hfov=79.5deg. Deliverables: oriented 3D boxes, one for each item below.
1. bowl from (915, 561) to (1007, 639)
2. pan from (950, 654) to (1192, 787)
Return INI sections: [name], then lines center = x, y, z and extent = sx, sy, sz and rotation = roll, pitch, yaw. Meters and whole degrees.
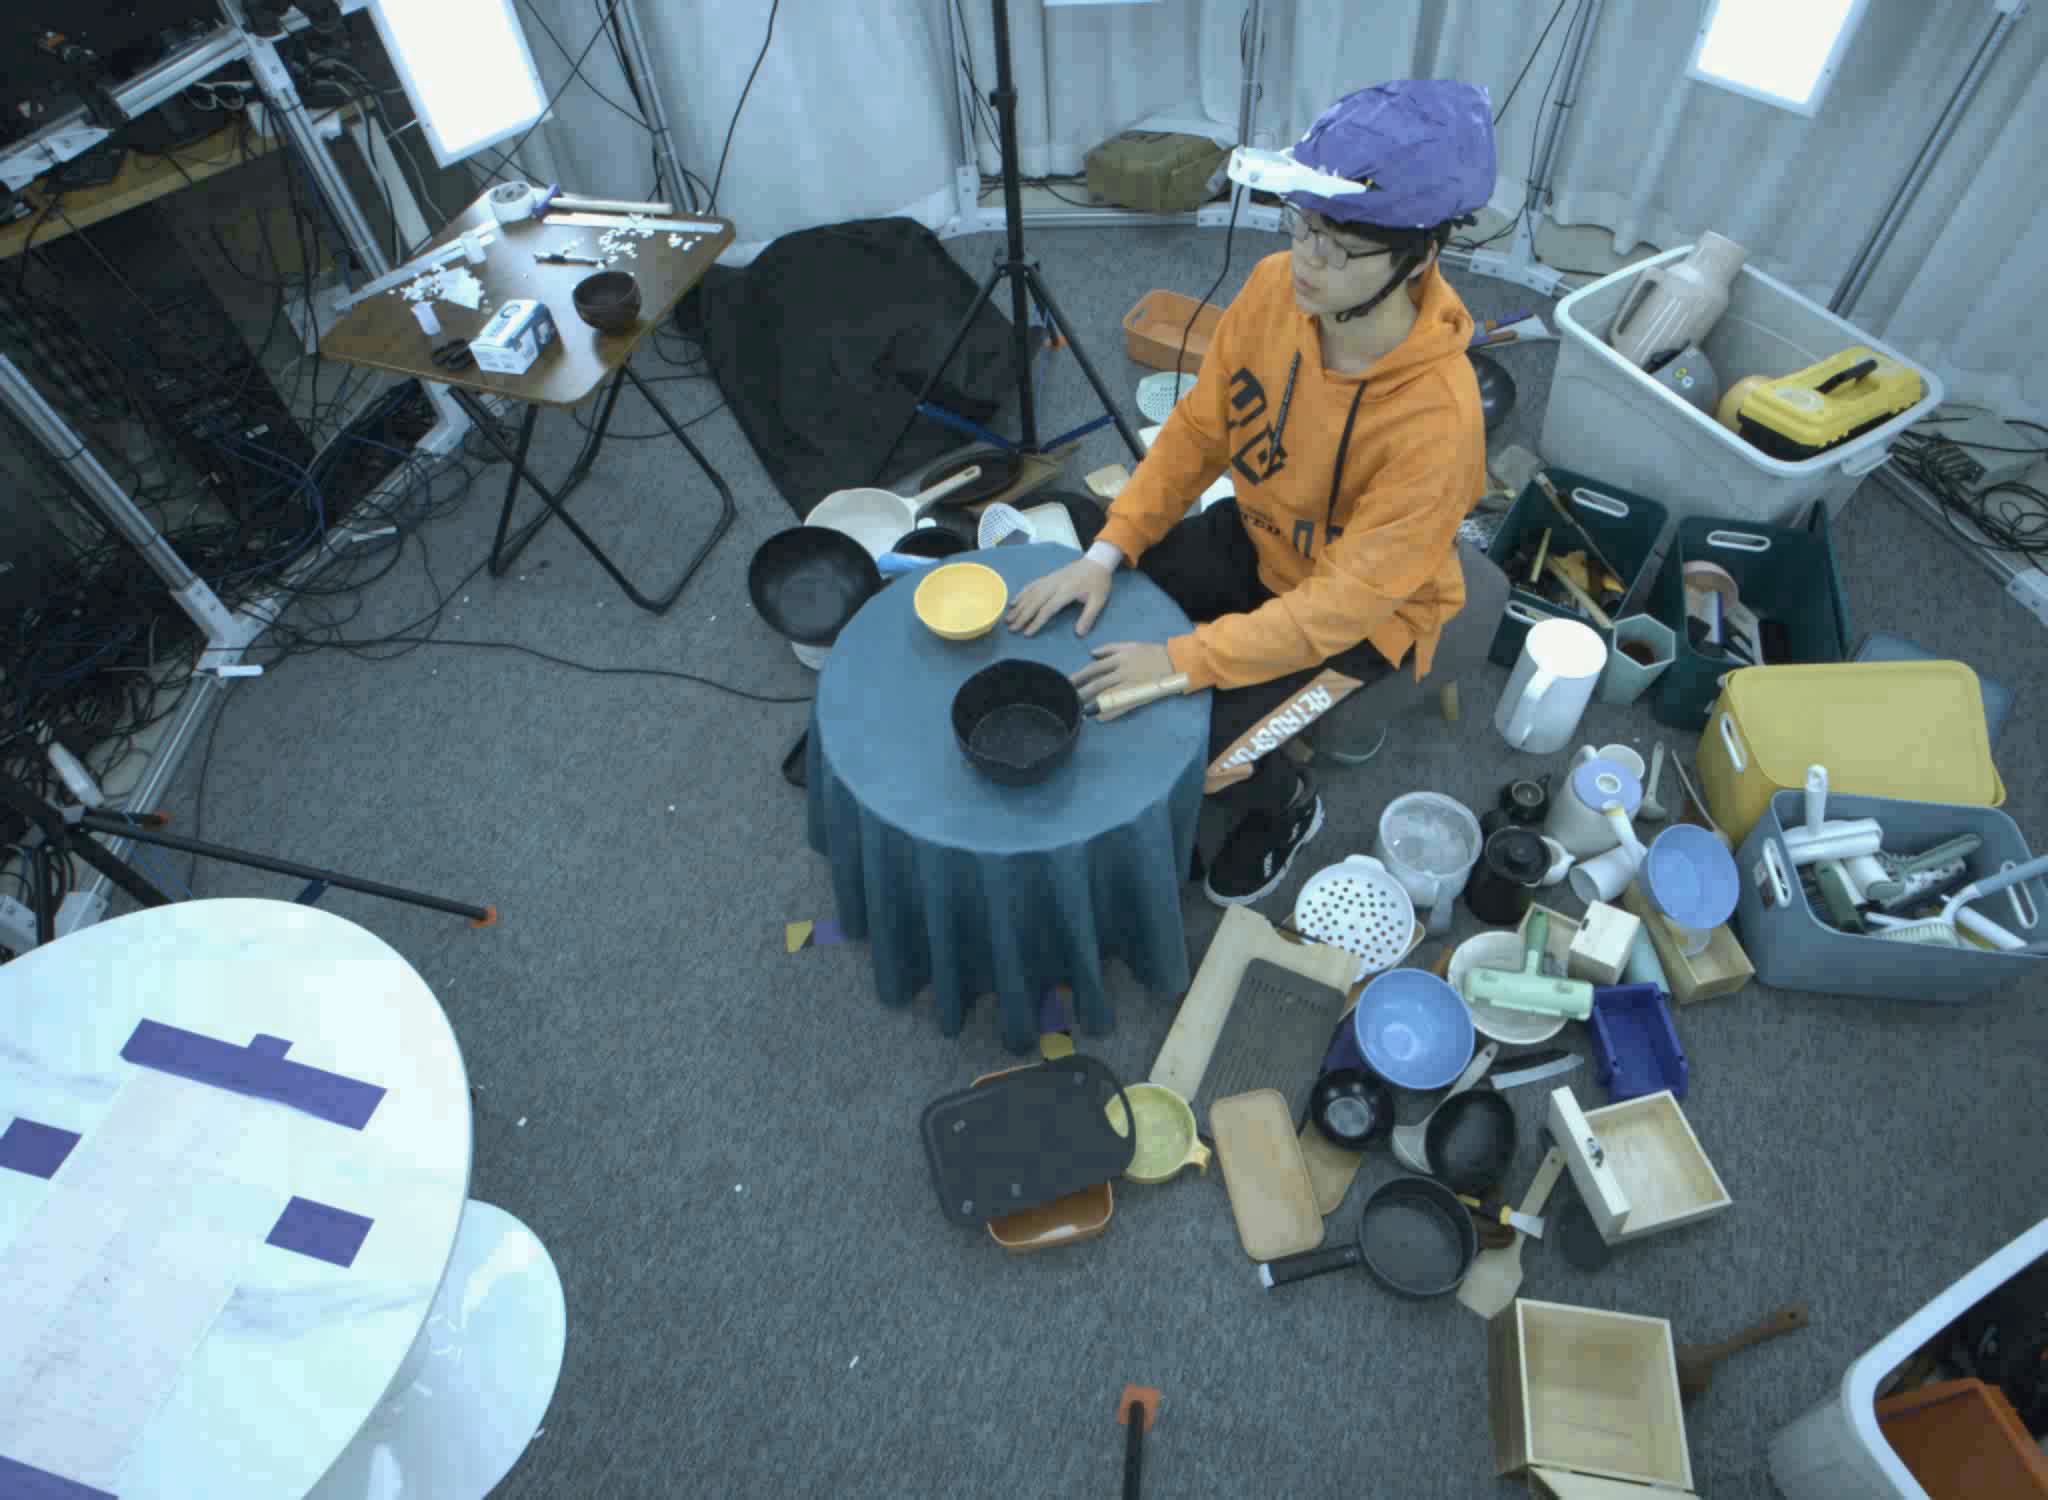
[bowl]
center = -0.096, -0.222, 1.911
extent = 0.145, 0.061, 0.144
rotation = 0, 56, 1
[pan]
center = 0.068, -0.051, 1.754
extent = 0.343, 0.109, 0.204
rotation = -9, 53, -2
